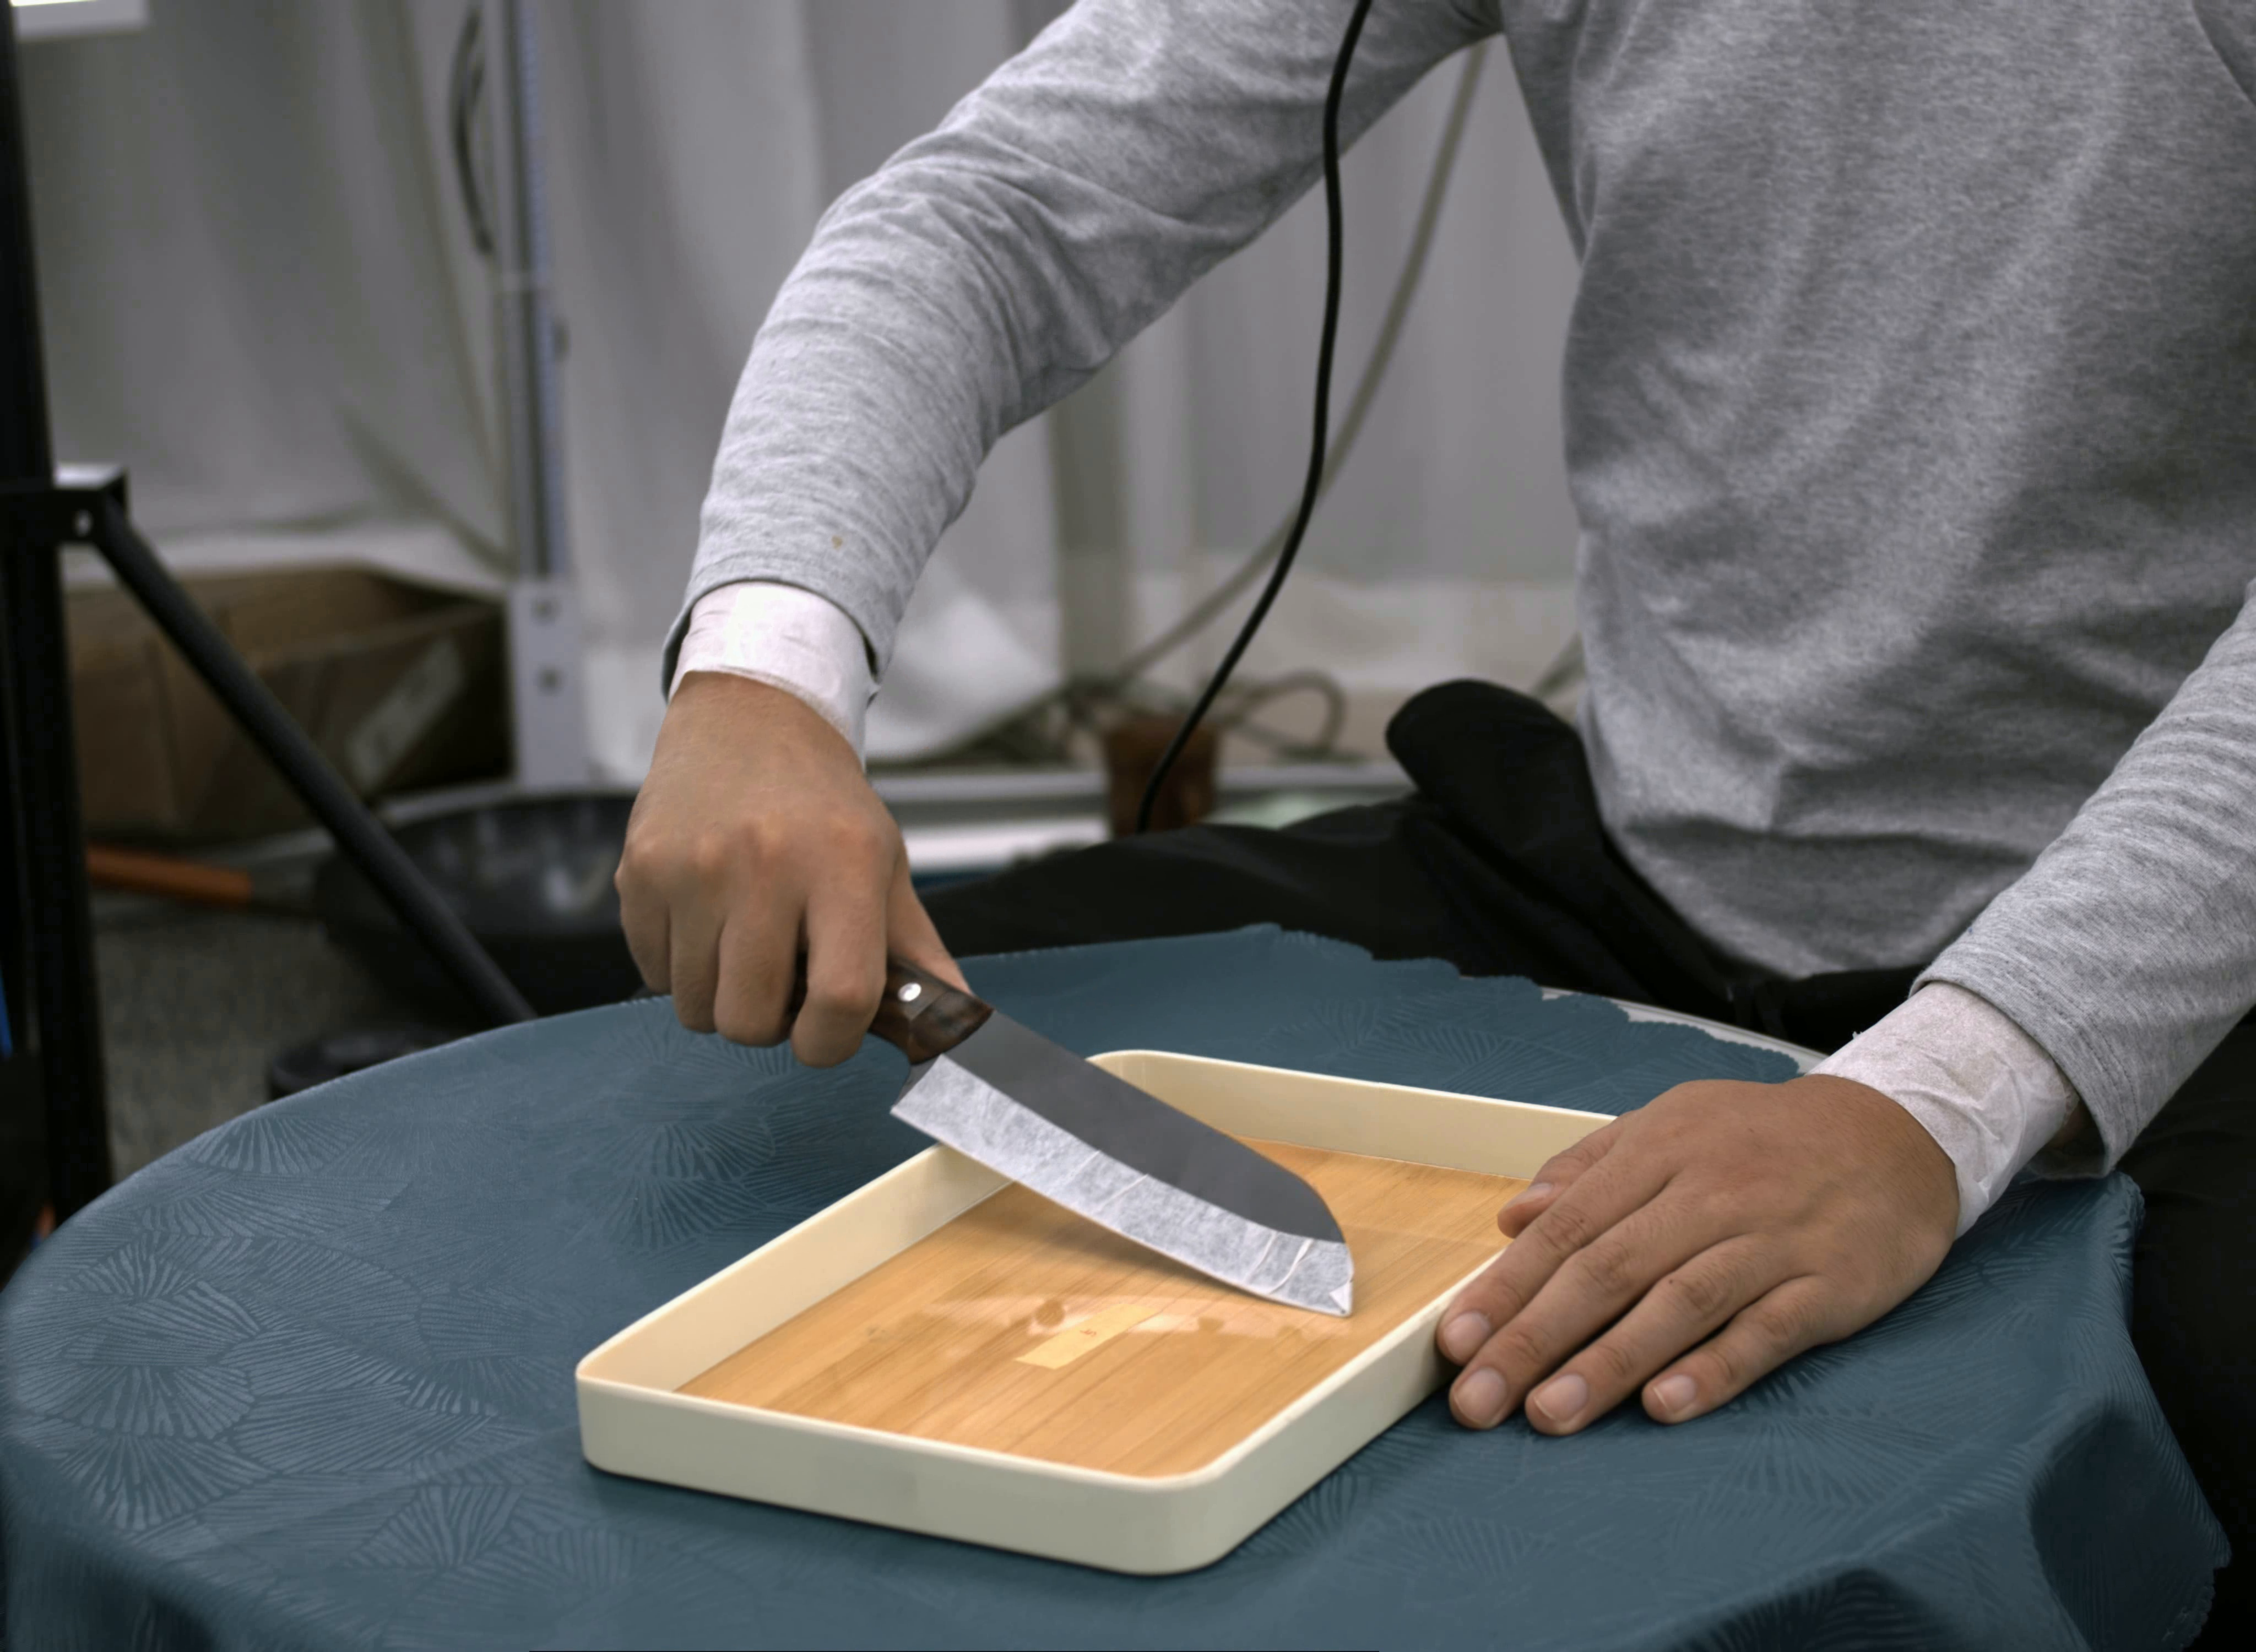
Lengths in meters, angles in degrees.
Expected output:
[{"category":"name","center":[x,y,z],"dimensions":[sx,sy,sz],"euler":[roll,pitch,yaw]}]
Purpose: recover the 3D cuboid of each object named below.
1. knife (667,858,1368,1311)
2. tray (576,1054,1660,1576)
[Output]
[{"category":"knife","center":[-0.036,0.073,1.536],"dimensions":[0.296,0.019,0.050],"euler":[29,67,38]},{"category":"tray","center":[0.005,0.127,1.448],"dimensions":[0.195,0.027,0.295],"euler":[7,18,29]}]
